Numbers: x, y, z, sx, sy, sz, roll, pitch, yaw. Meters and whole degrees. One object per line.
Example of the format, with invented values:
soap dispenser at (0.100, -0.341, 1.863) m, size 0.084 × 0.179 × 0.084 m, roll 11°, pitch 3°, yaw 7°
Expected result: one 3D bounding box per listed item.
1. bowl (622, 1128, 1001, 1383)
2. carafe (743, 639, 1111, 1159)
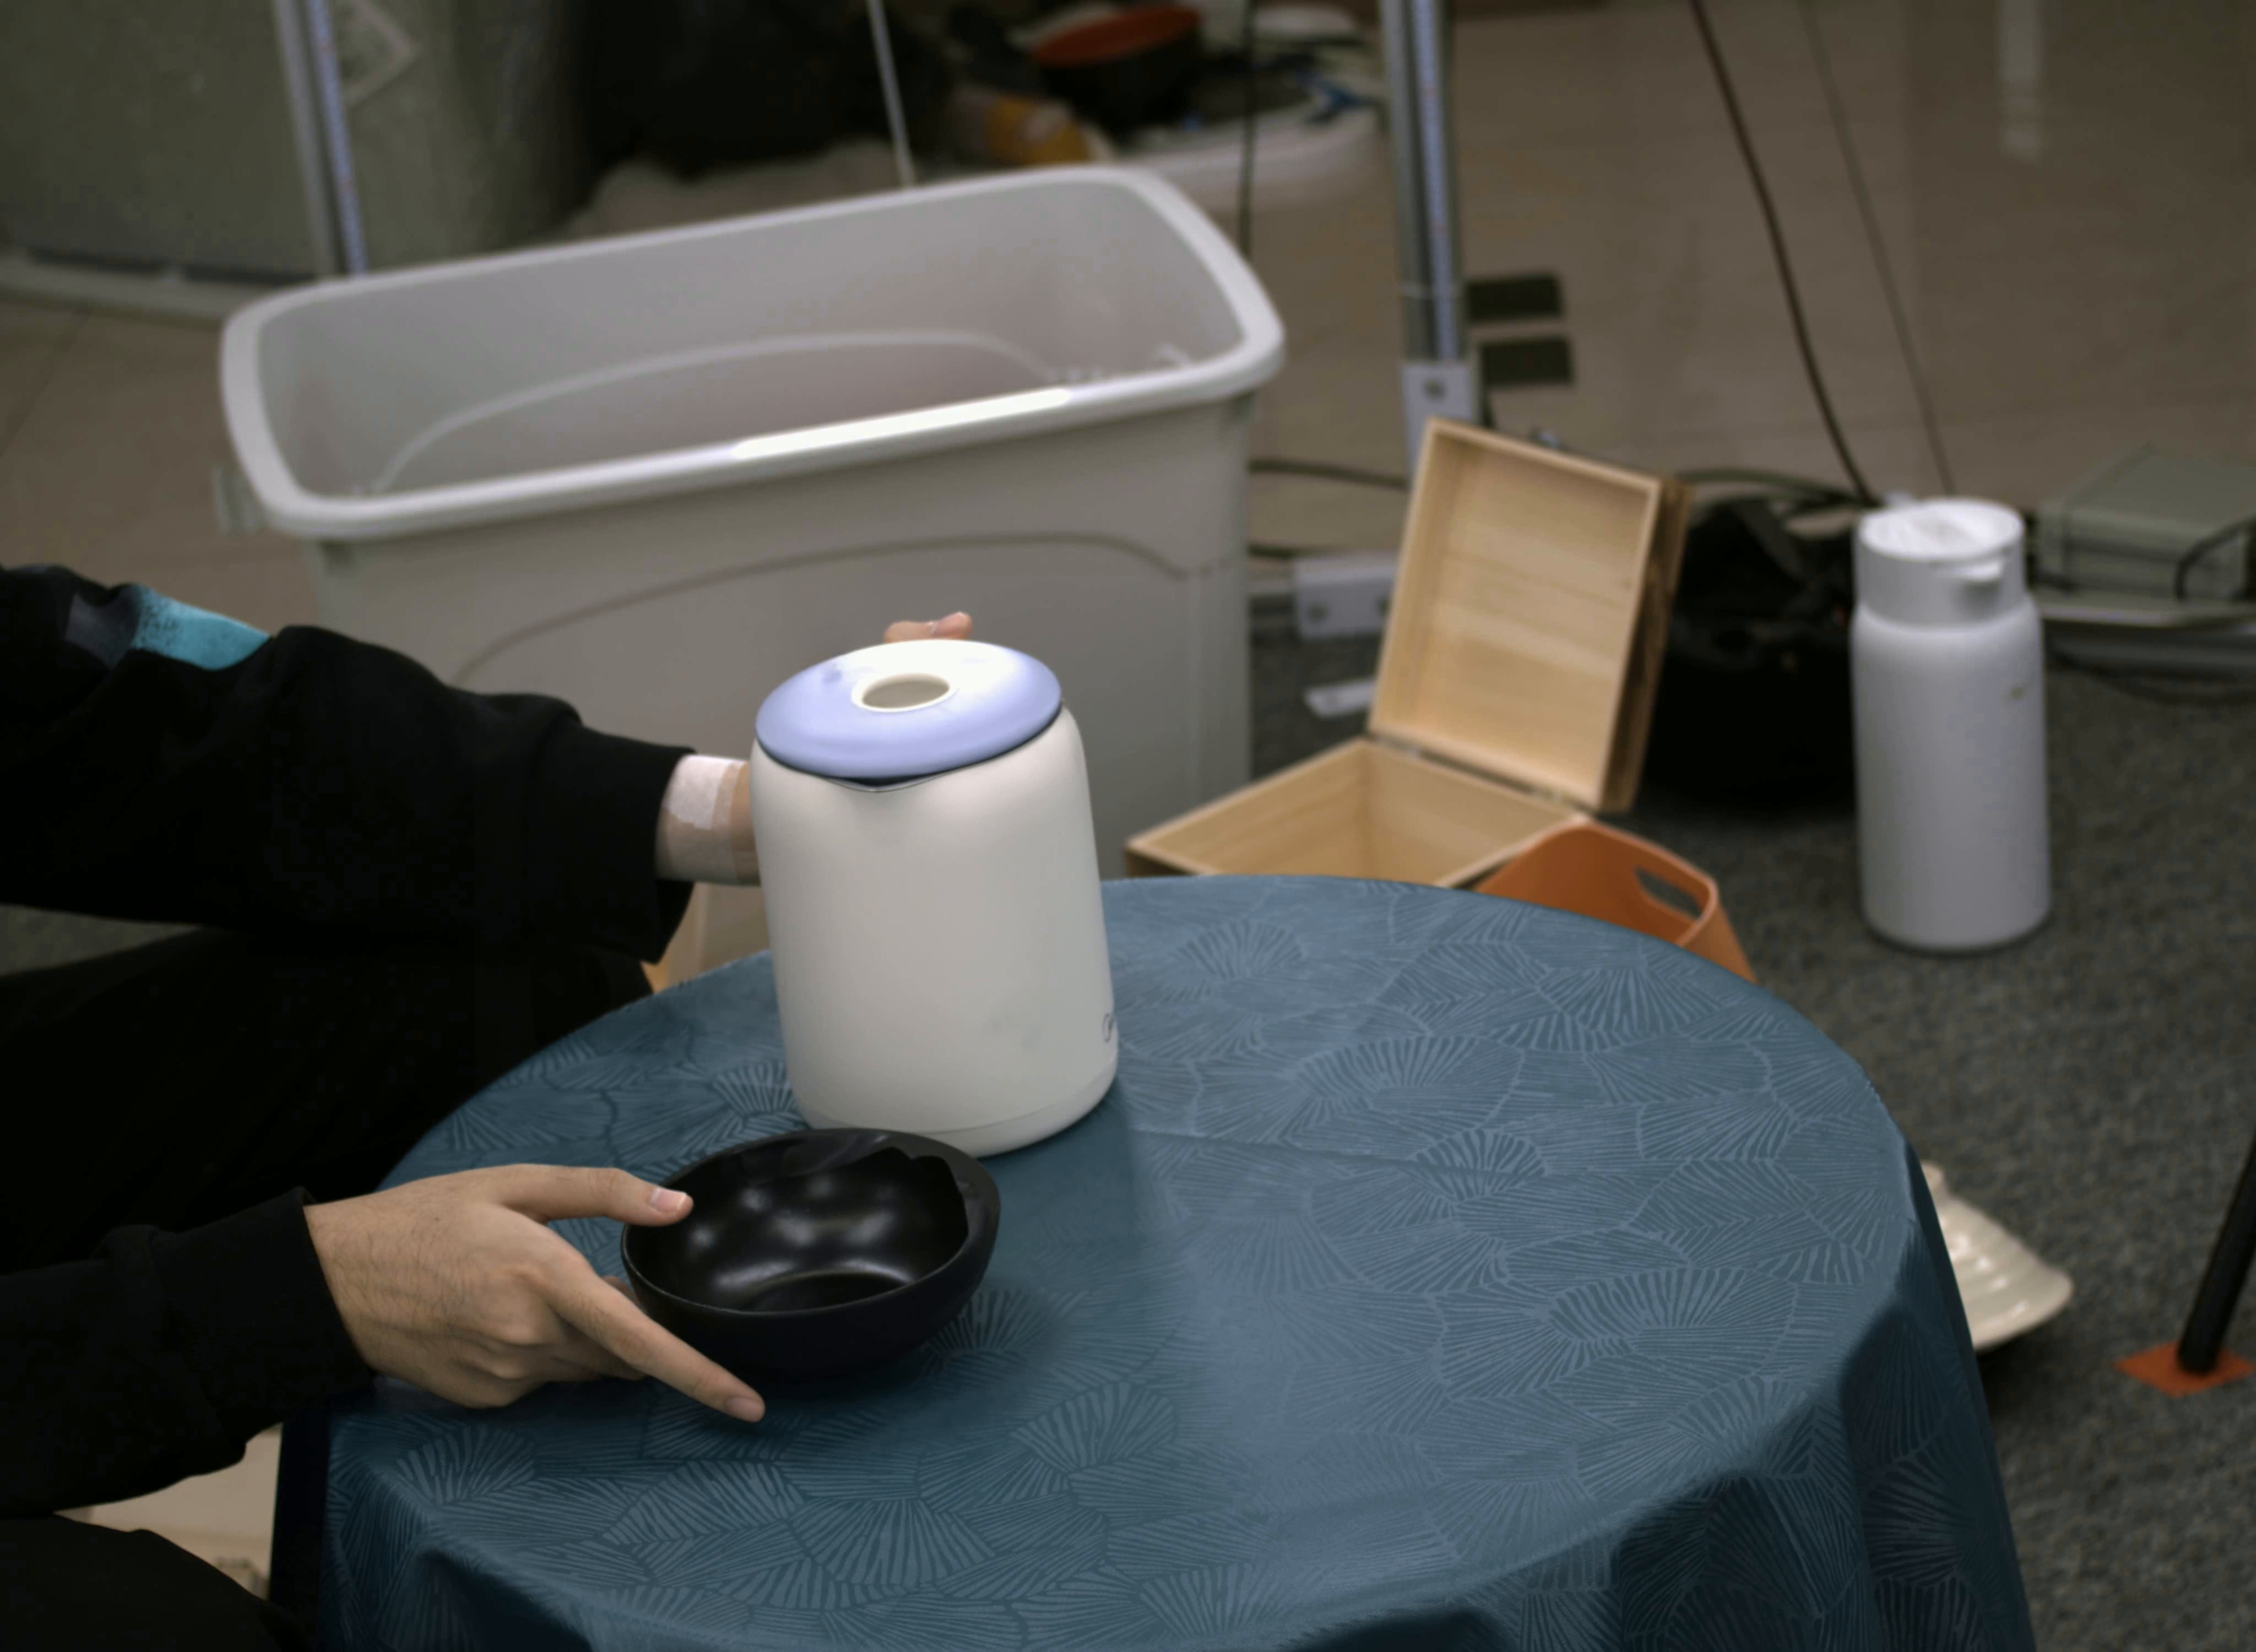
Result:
bowl at (-0.112, 0.163, 2.061) m, size 0.140 × 0.050 × 0.138 m, roll -8°, pitch 25°, yaw 4°
carafe at (-0.075, 0.019, 2.215) m, size 0.132 × 0.185 × 0.188 m, roll -2°, pitch 24°, yaw 7°
